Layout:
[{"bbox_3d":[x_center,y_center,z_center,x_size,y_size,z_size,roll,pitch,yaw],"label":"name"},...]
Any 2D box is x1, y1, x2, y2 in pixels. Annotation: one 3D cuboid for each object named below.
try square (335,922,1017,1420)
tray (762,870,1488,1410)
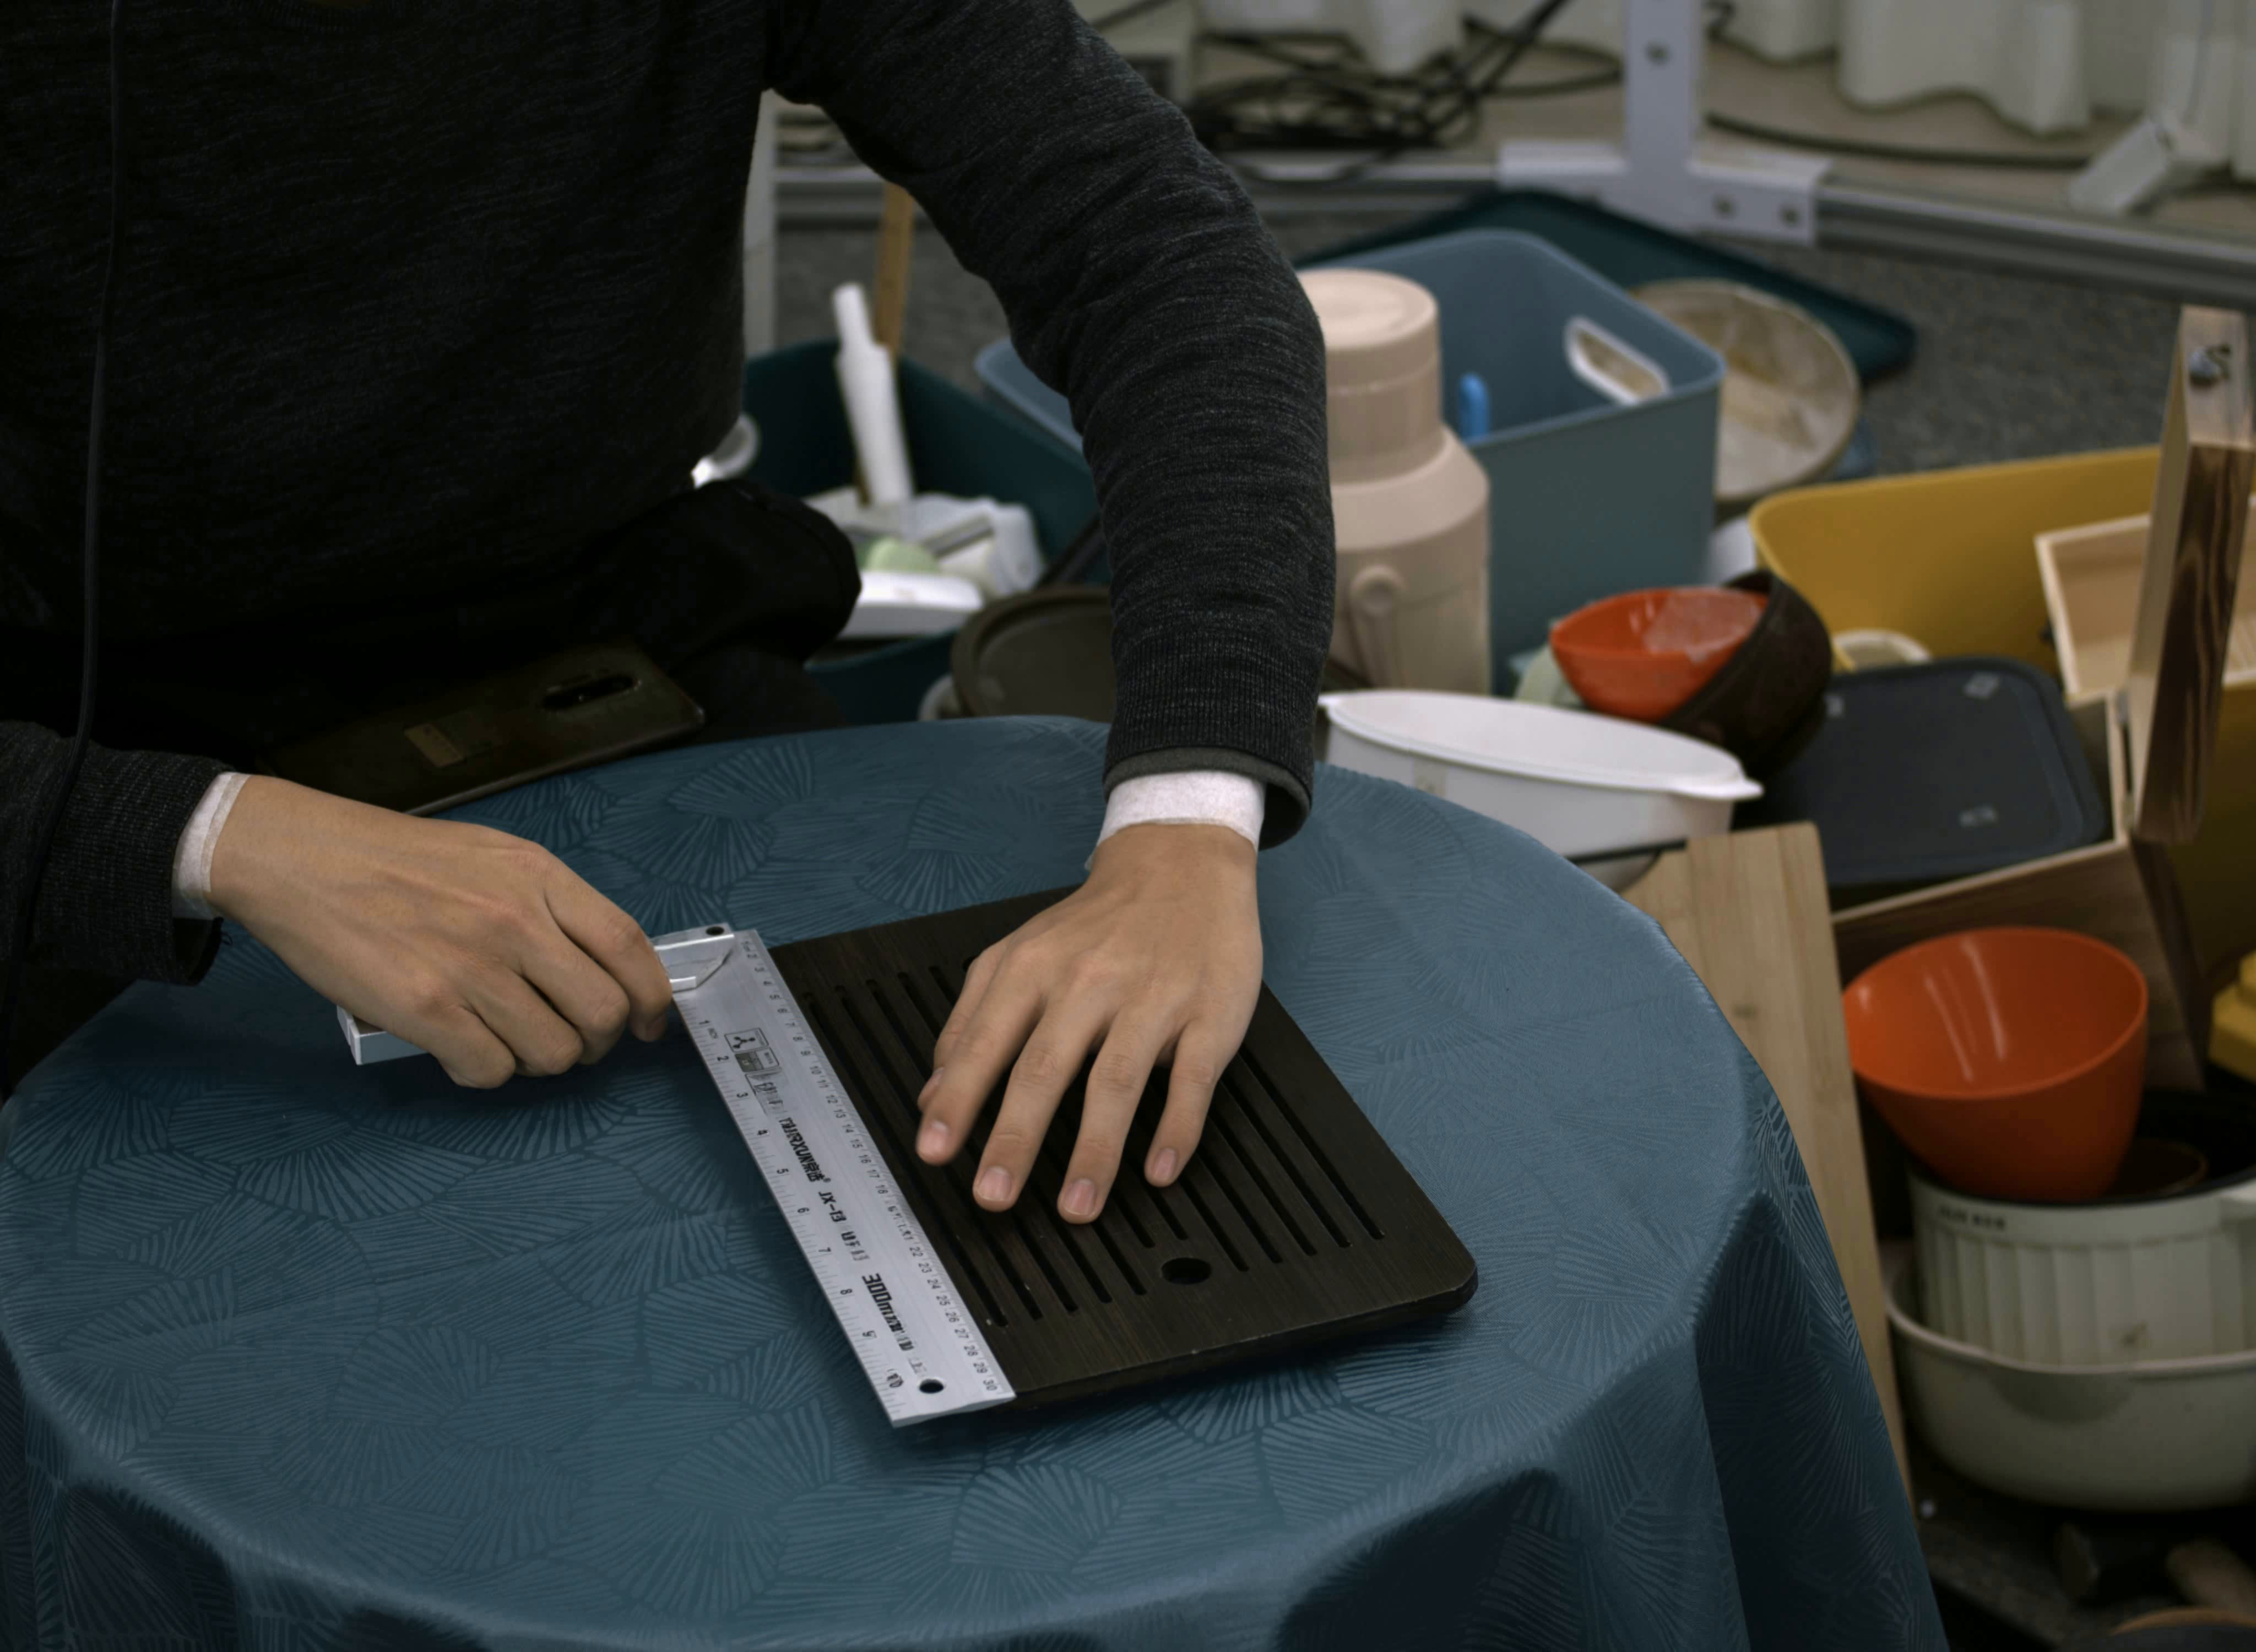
[{"bbox_3d":[-0.154,0.116,1.834,0.152,0.016,0.316,-7,29,-17],"label":"try square"},{"bbox_3d":[-0.011,0.101,1.881,0.170,0.018,0.308,-11,28,-15],"label":"tray"}]
